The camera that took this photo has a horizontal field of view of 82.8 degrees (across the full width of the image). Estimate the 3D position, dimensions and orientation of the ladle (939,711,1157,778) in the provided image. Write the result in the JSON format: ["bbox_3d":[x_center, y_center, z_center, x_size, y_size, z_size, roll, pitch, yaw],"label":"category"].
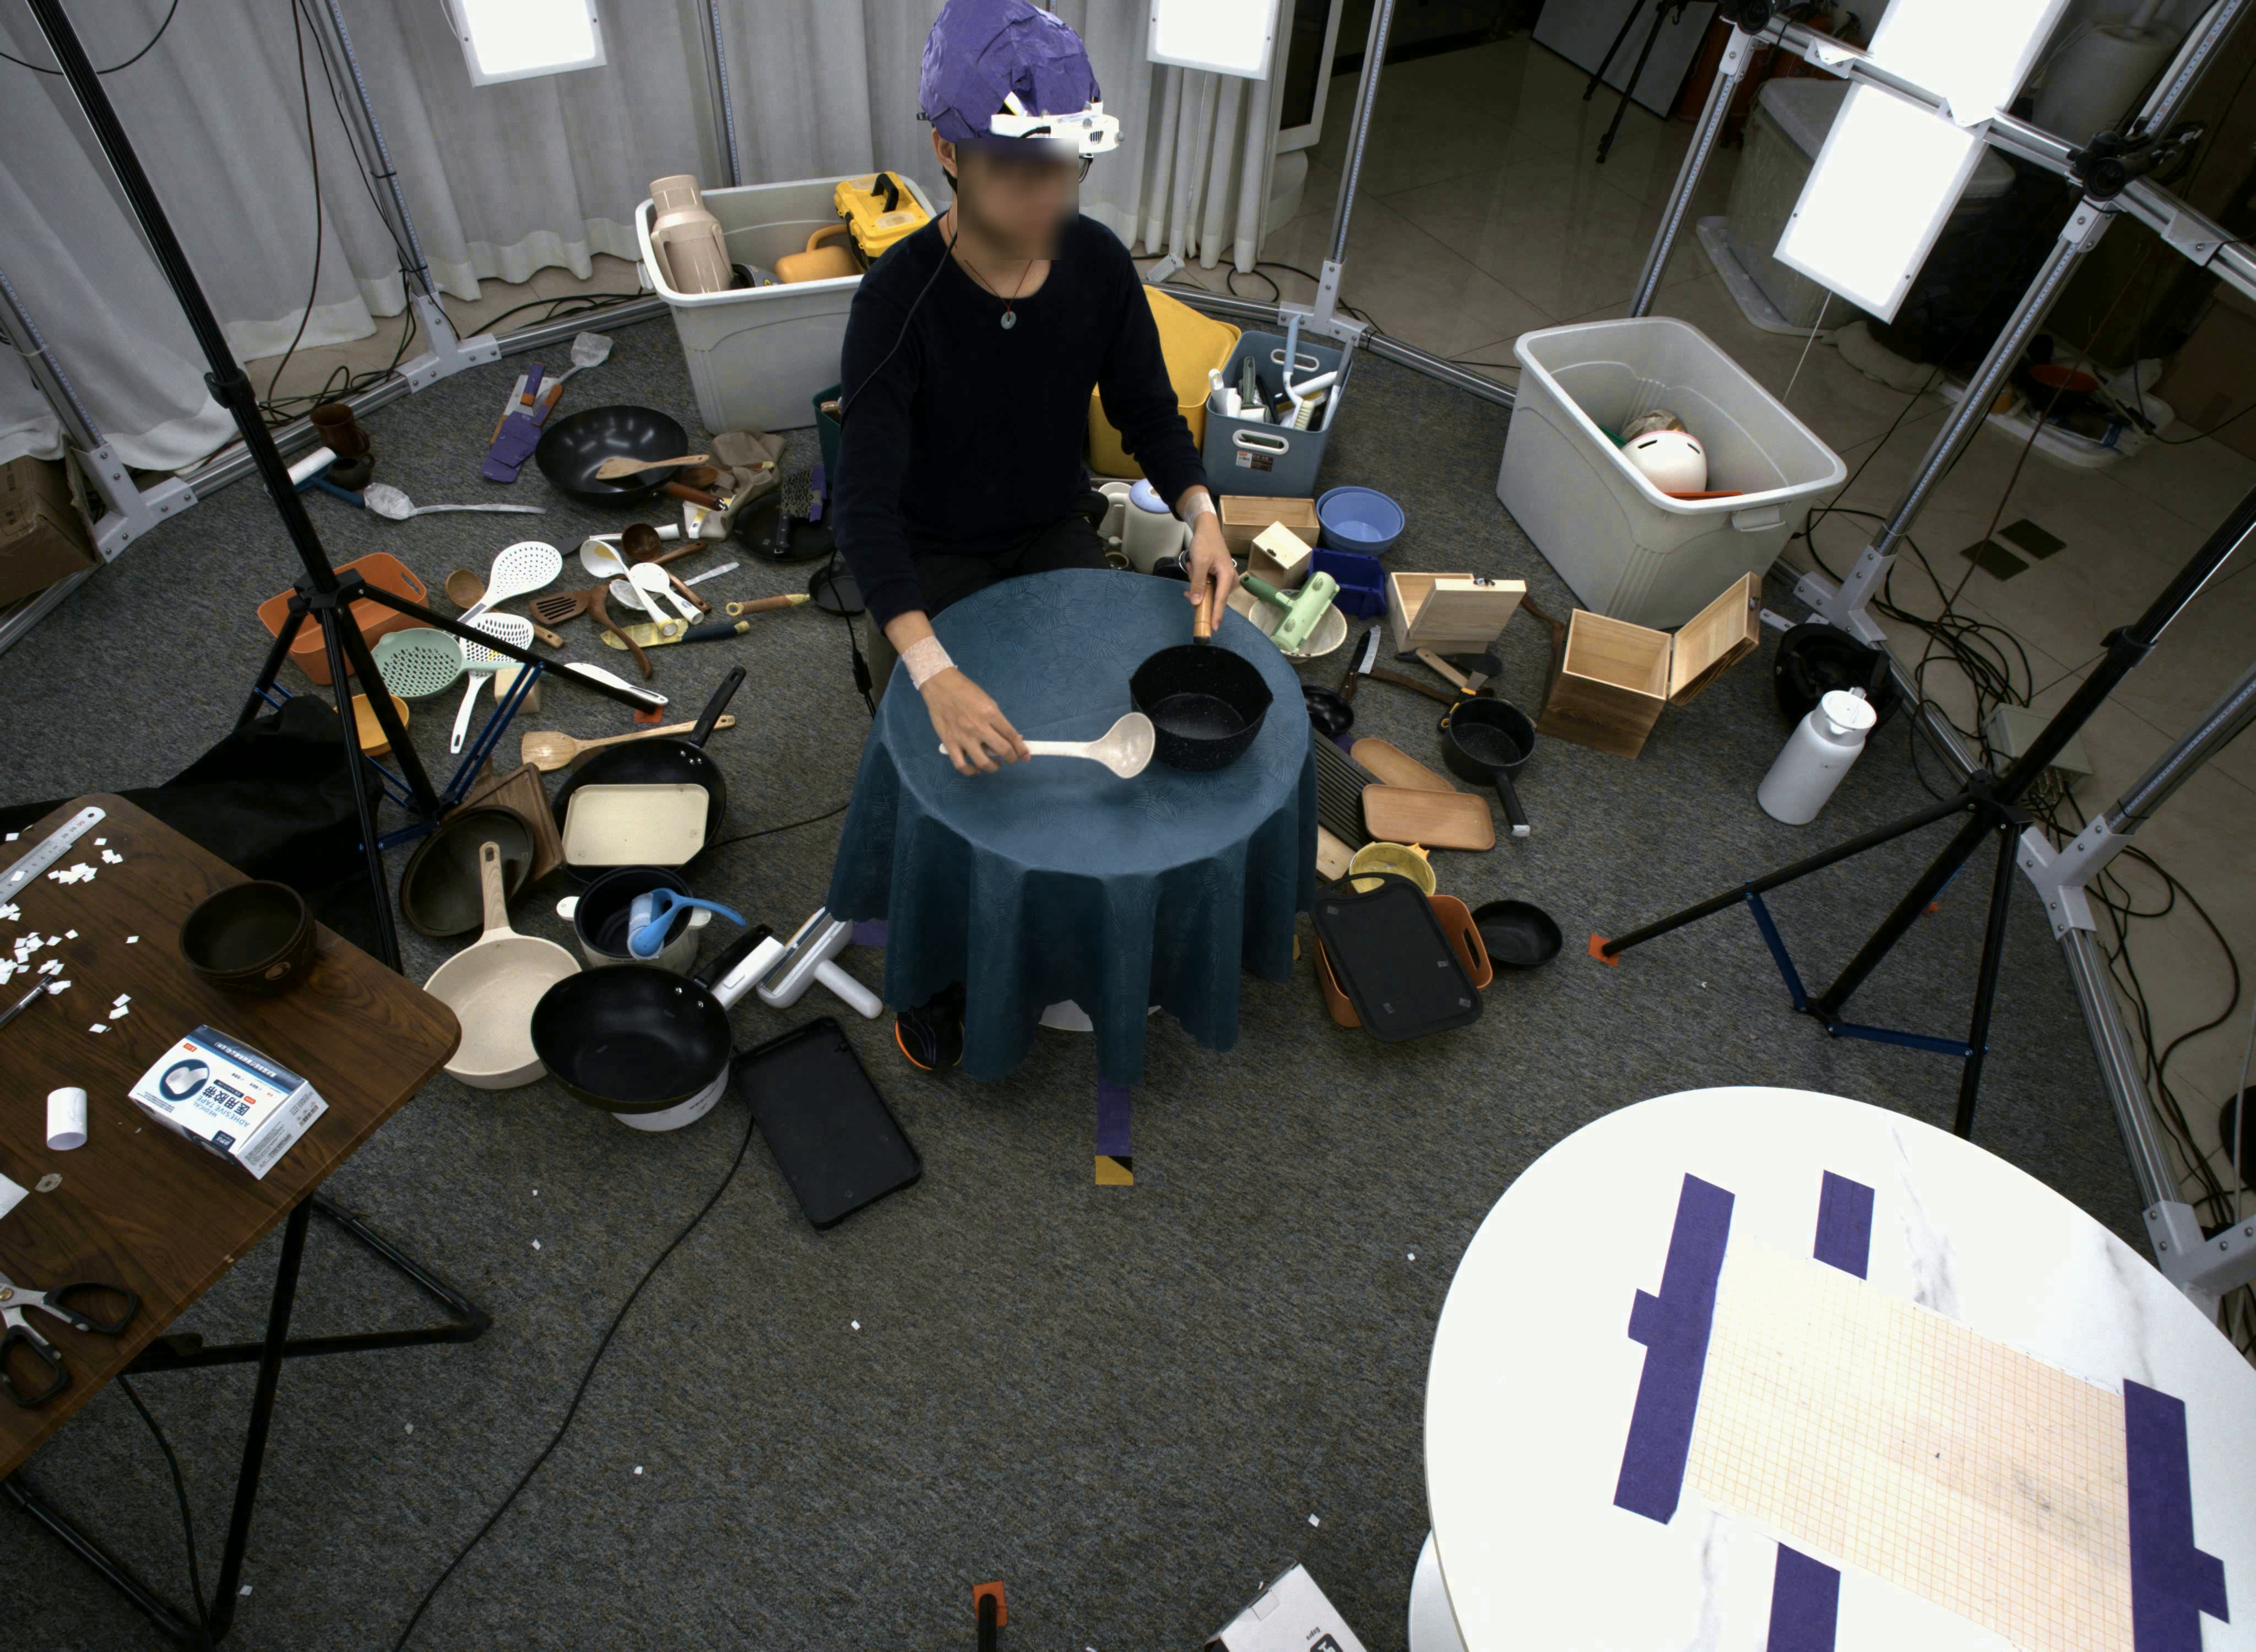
[{"bbox_3d":[-0.101,-0.107,1.642,0.274,0.068,0.090,1,74,-11],"label":"ladle"}]

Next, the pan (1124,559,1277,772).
[{"bbox_3d":[0.099,-0.226,1.802,0.207,0.105,0.351,3,50,0],"label":"pan"}]
